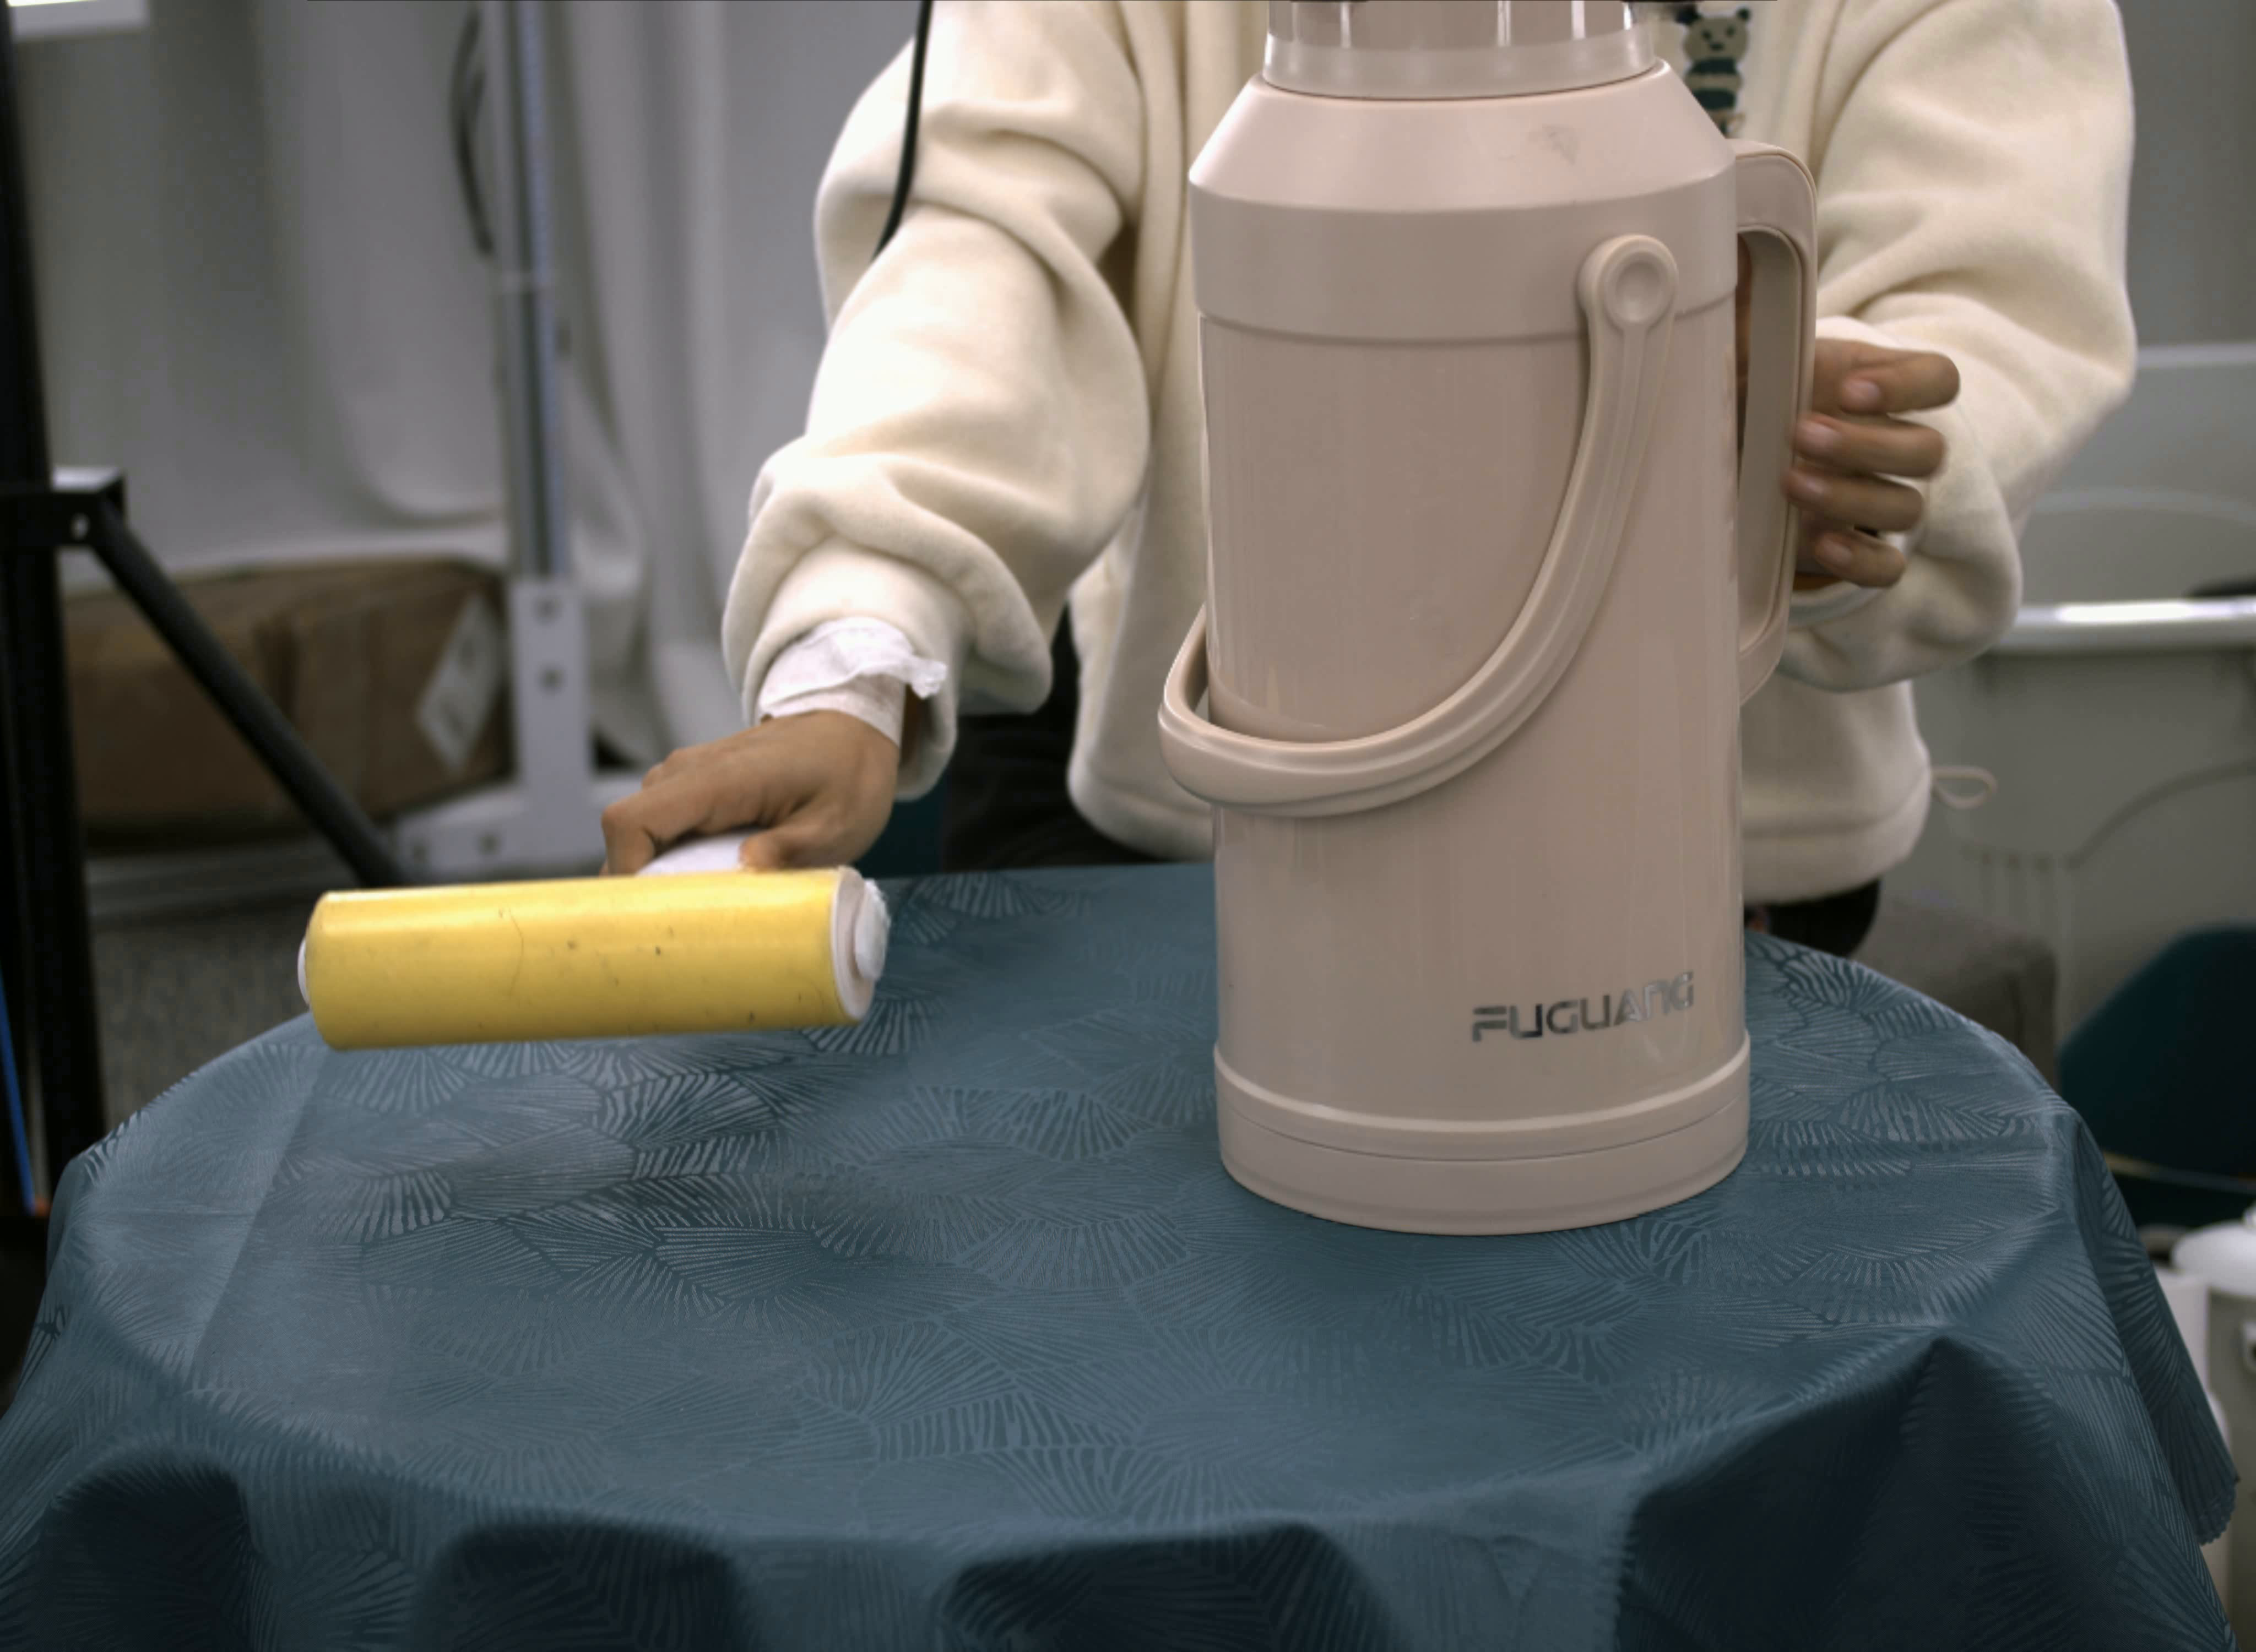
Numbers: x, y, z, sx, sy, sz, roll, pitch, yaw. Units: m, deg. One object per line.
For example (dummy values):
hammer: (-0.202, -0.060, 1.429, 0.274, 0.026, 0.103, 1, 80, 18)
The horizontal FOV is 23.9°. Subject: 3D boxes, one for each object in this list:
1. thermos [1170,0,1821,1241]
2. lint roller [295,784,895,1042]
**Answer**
thermos: (0.111, -0.096, 1.536, 0.202, 0.406, 0.179, -10, 16, -27)
lint roller: (-0.146, 0.010, 1.621, 0.175, 0.051, 0.191, -4, 23, 13)
